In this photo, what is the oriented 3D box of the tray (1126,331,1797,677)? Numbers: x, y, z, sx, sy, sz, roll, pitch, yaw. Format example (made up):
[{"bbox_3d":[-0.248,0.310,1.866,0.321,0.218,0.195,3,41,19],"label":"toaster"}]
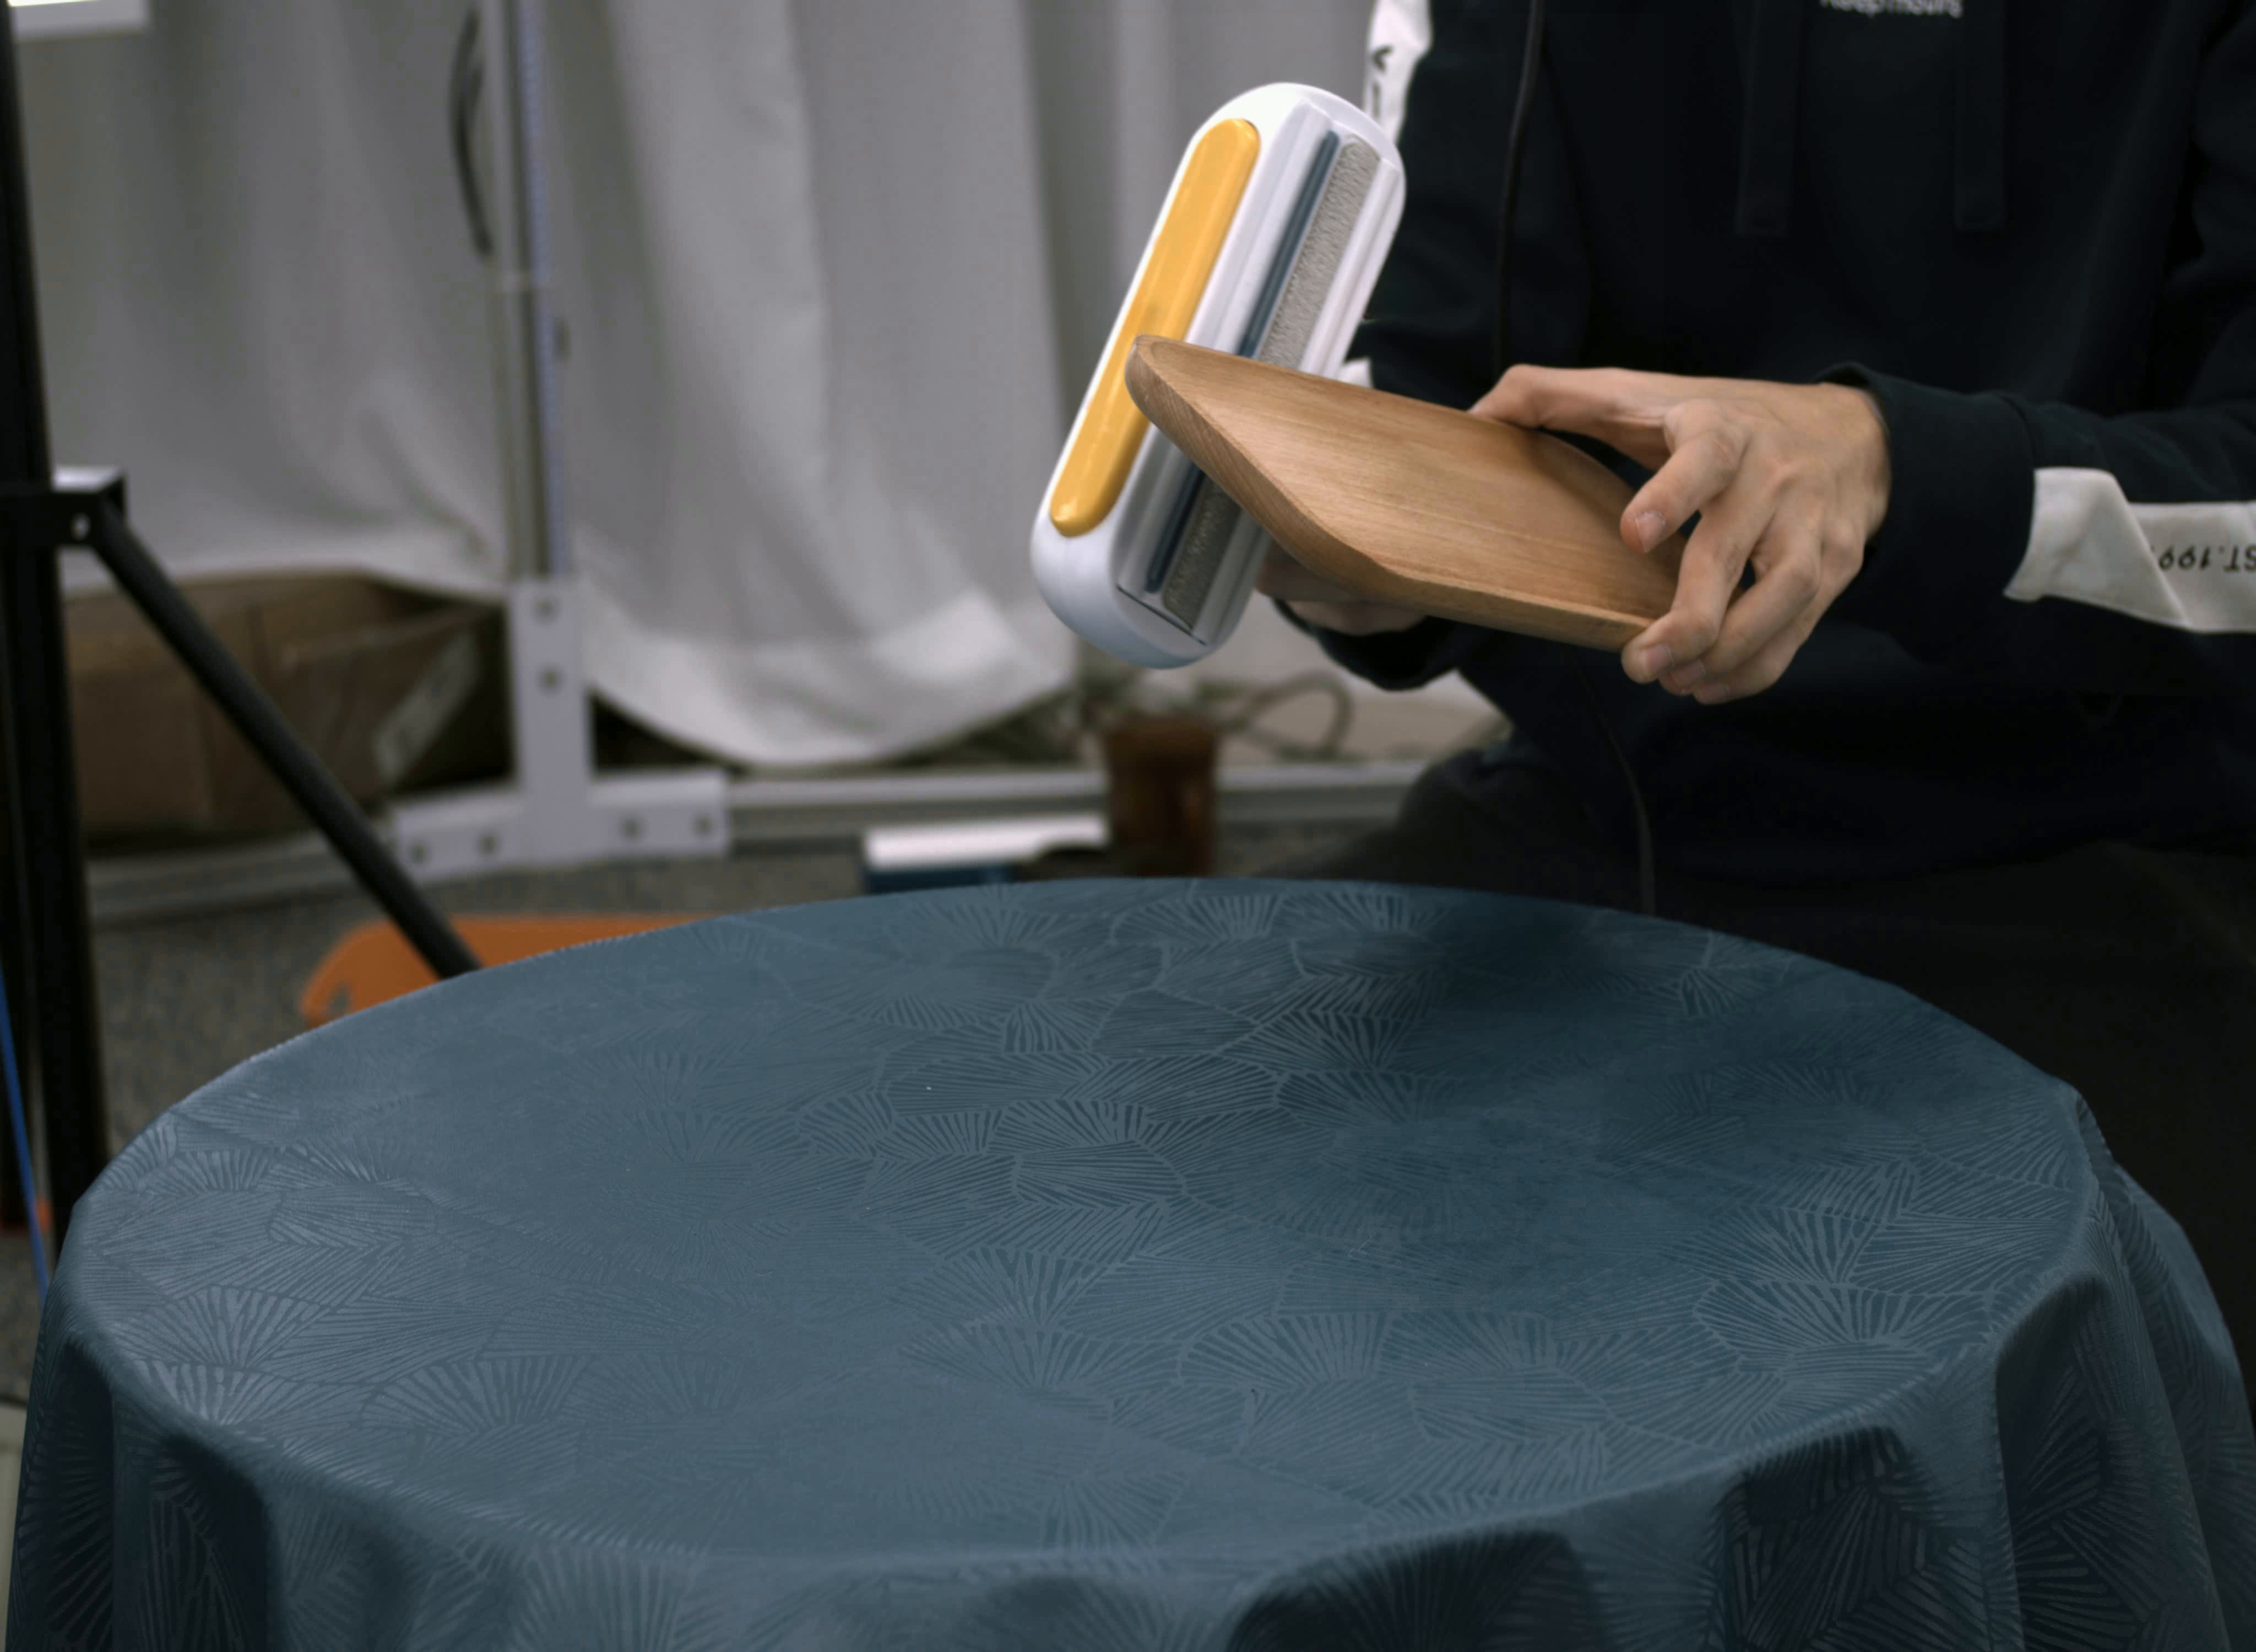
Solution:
[{"bbox_3d":[0.105,-0.096,1.642,0.244,0.023,0.133,9,33,-49],"label":"tray"}]

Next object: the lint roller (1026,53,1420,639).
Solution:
[{"bbox_3d":[0.056,-0.123,1.718,0.076,0.193,0.188,3,-27,43],"label":"lint roller"}]
